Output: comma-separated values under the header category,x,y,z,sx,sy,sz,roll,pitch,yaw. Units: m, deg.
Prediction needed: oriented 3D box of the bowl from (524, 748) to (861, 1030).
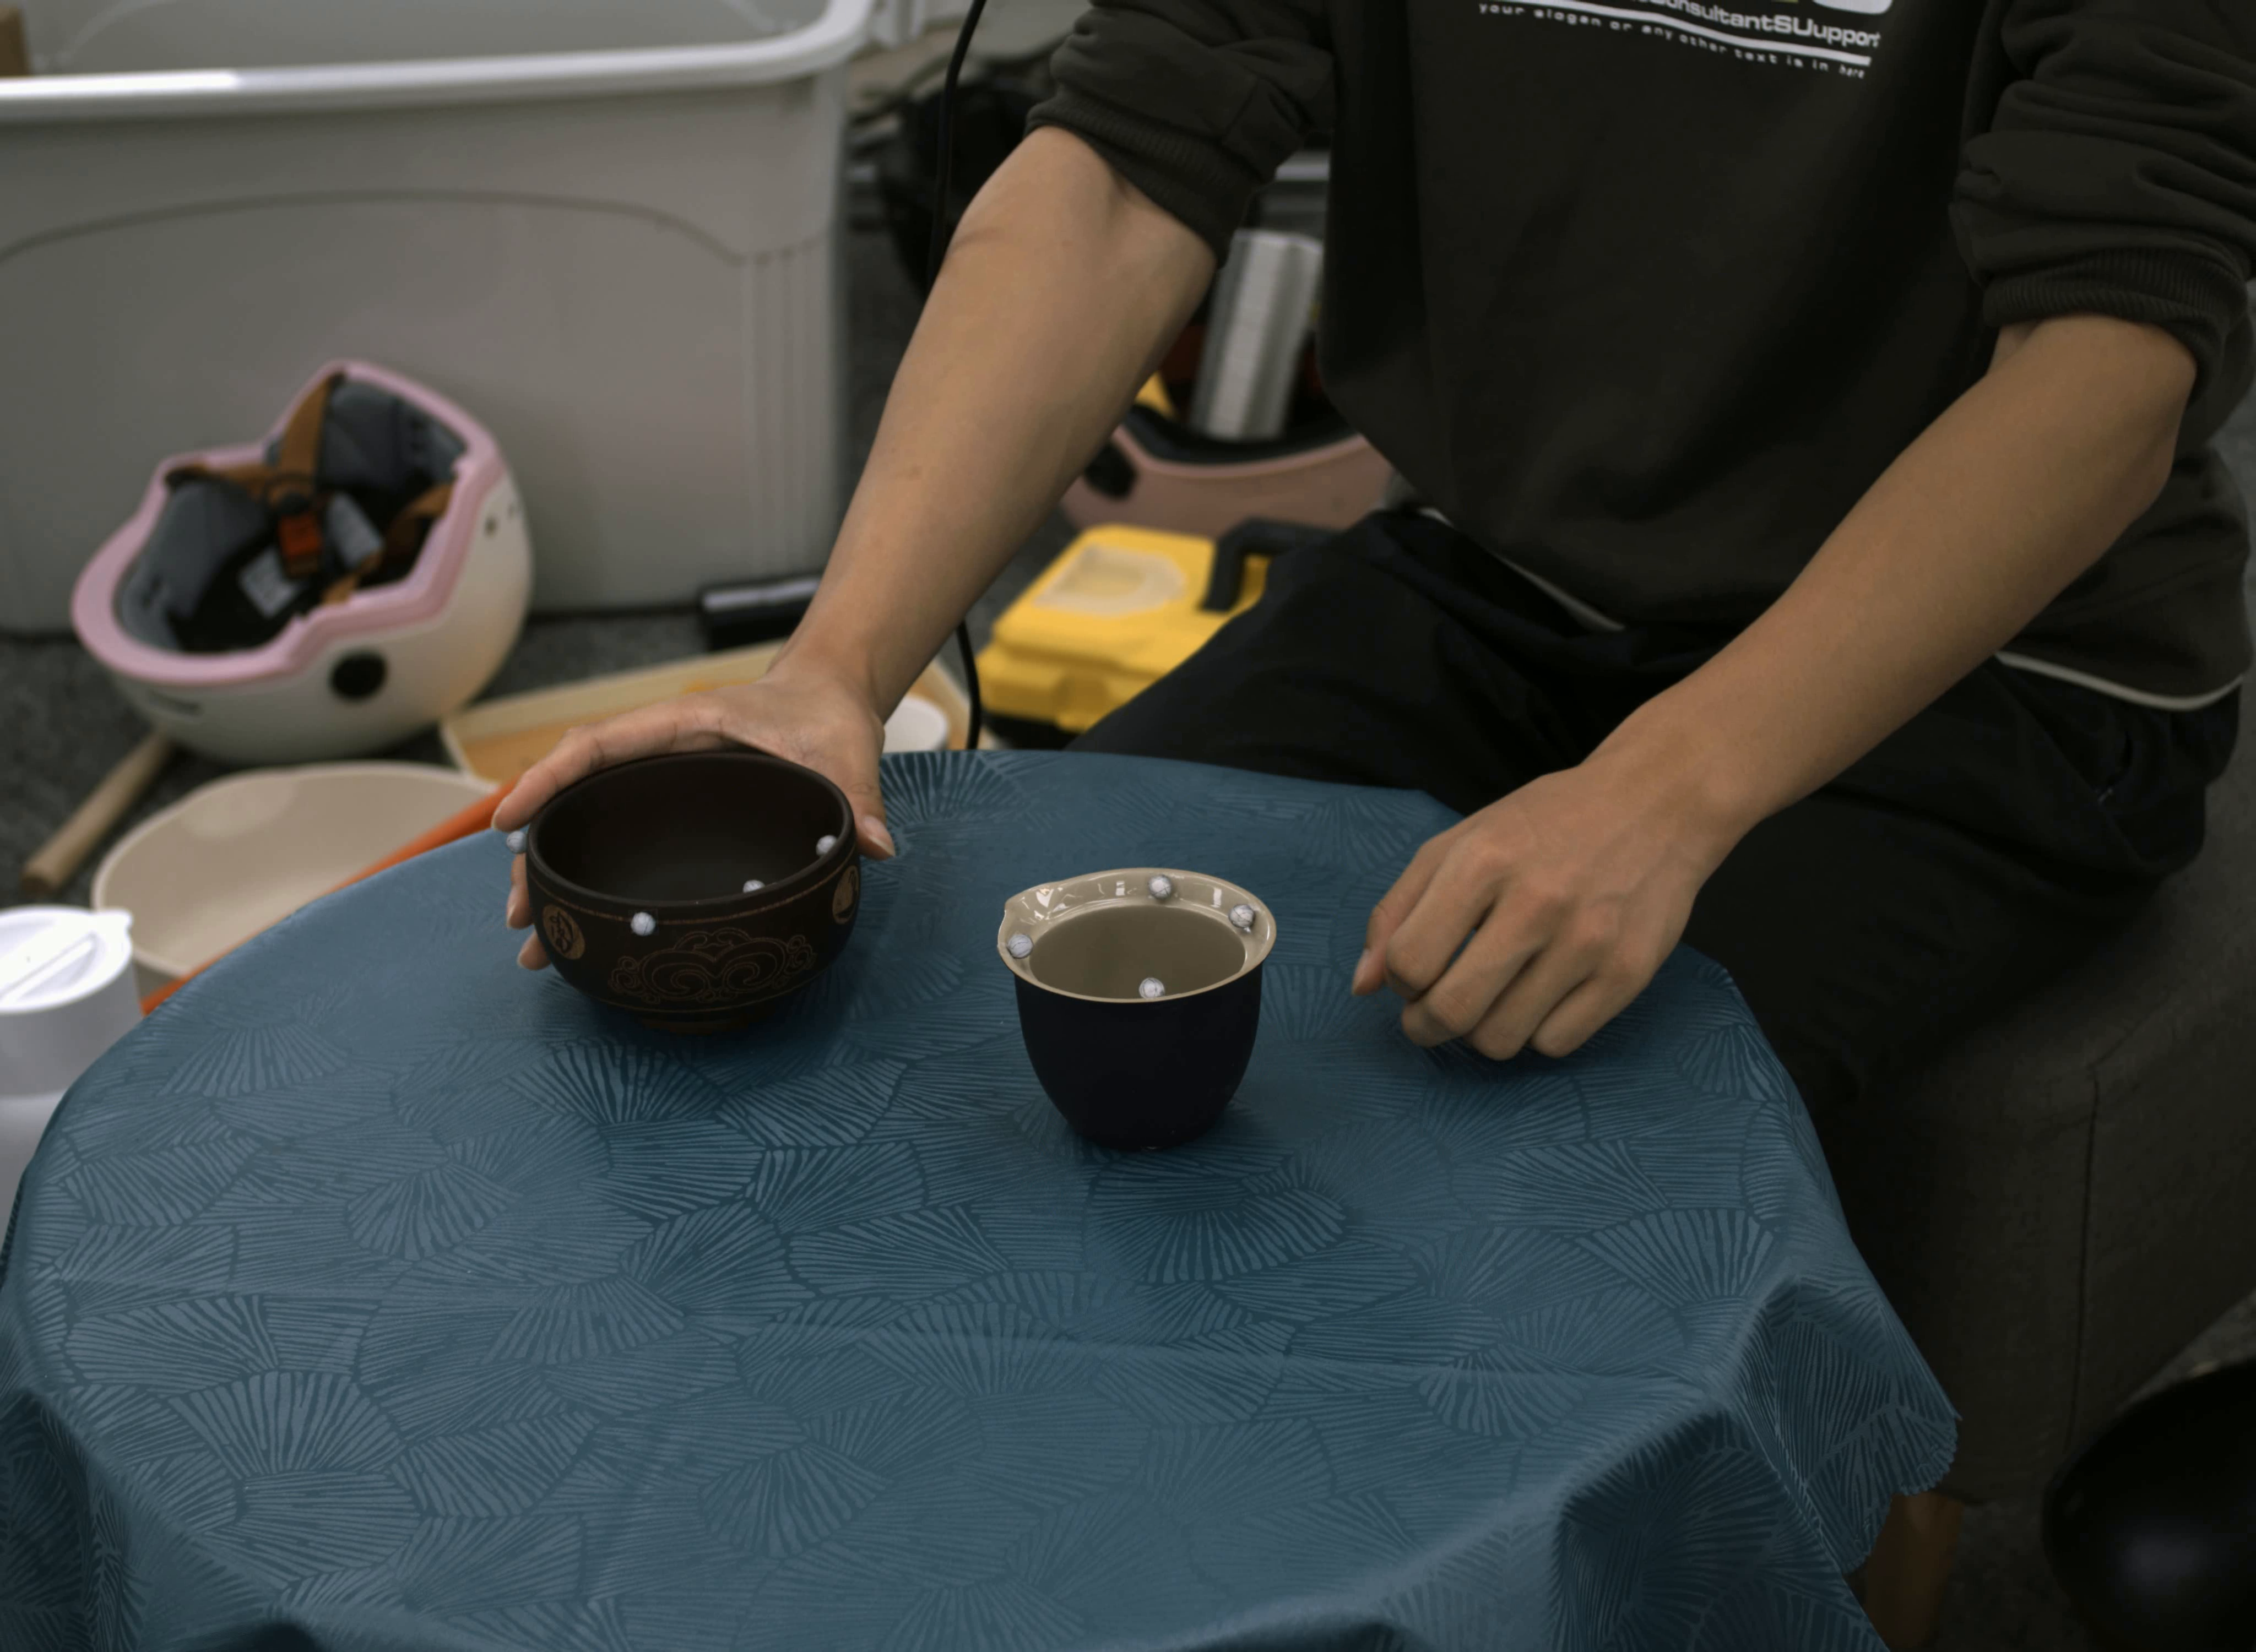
category,x,y,z,sx,sy,sz,roll,pitch,yaw
bowl,-0.152,0.029,1.978,0.117,0.069,0.120,-1,26,1

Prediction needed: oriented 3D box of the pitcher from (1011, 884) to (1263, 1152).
category,x,y,z,sx,sy,sz,roll,pitch,yaw
pitcher,0.000,0.066,1.893,0.096,0.070,0.085,23,37,39
